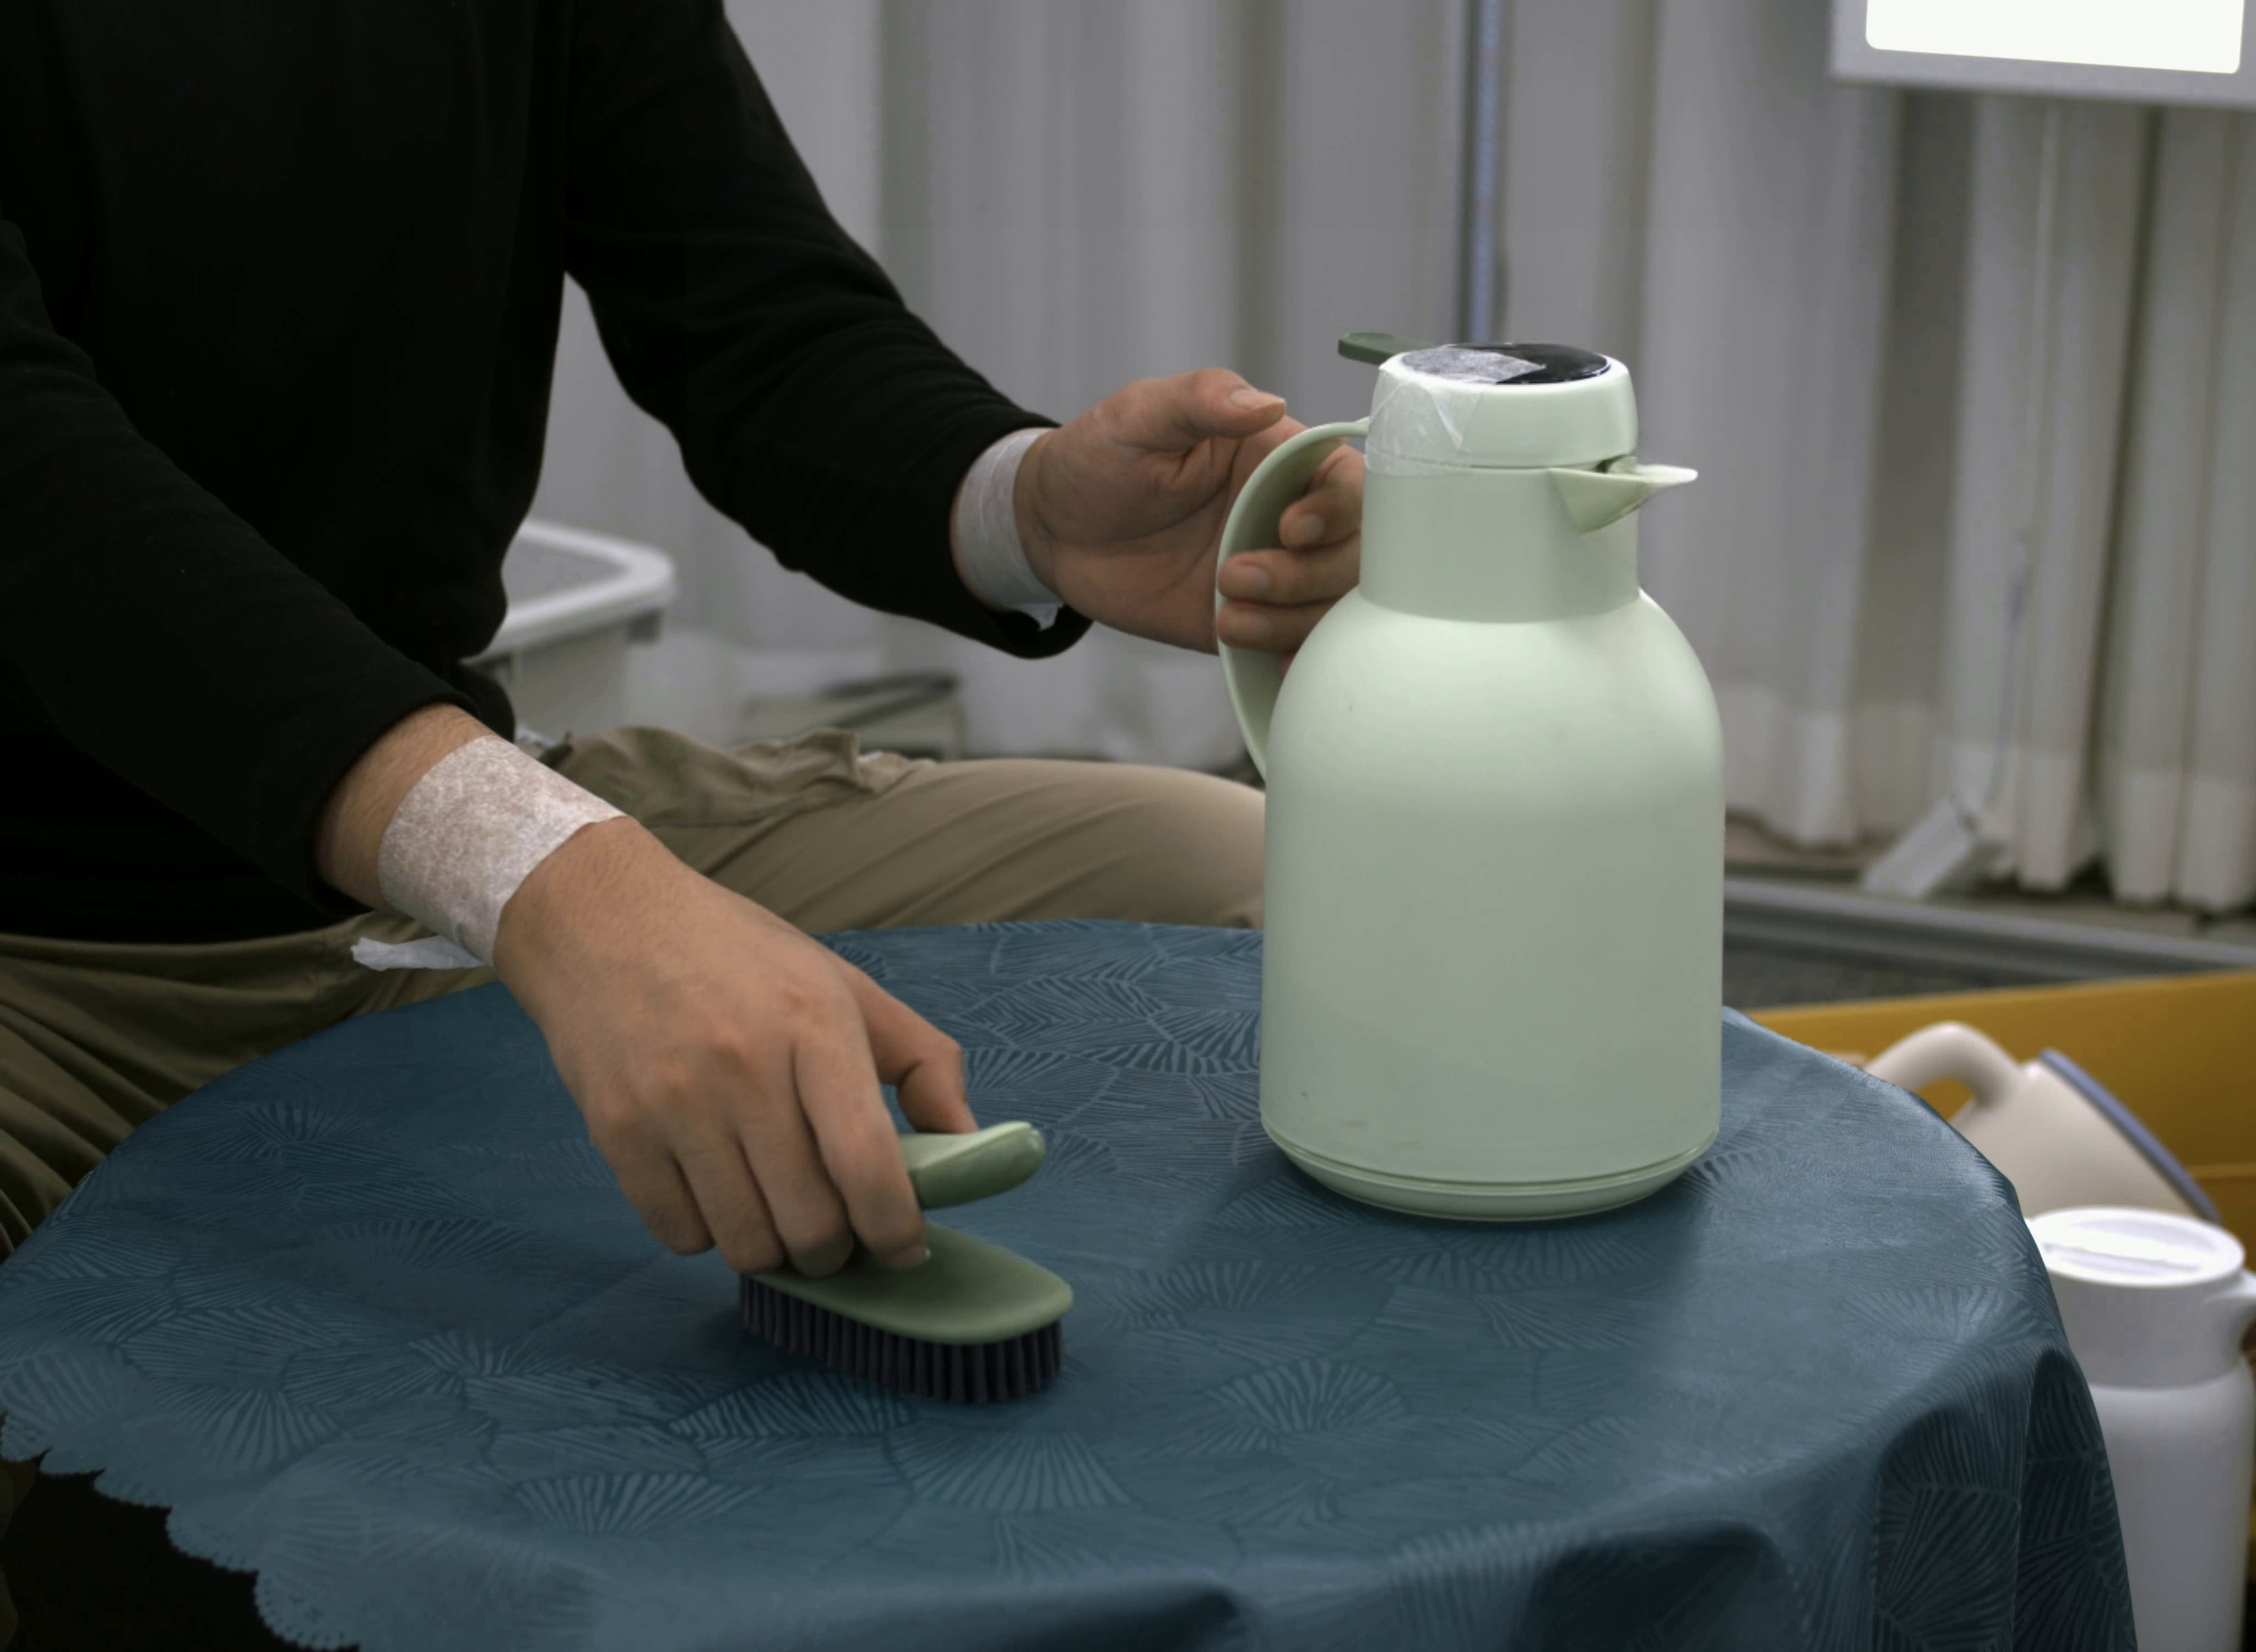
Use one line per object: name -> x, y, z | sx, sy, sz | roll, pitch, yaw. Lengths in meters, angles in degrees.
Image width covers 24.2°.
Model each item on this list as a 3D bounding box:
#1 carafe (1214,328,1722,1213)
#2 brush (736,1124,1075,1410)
carafe -> 0.101, -0.022, 1.626 | 0.145, 0.259, 0.184 | -14, 19, -43
brush -> -0.063, 0.125, 1.488 | 0.060, 0.076, 0.122 | -17, 4, -38
